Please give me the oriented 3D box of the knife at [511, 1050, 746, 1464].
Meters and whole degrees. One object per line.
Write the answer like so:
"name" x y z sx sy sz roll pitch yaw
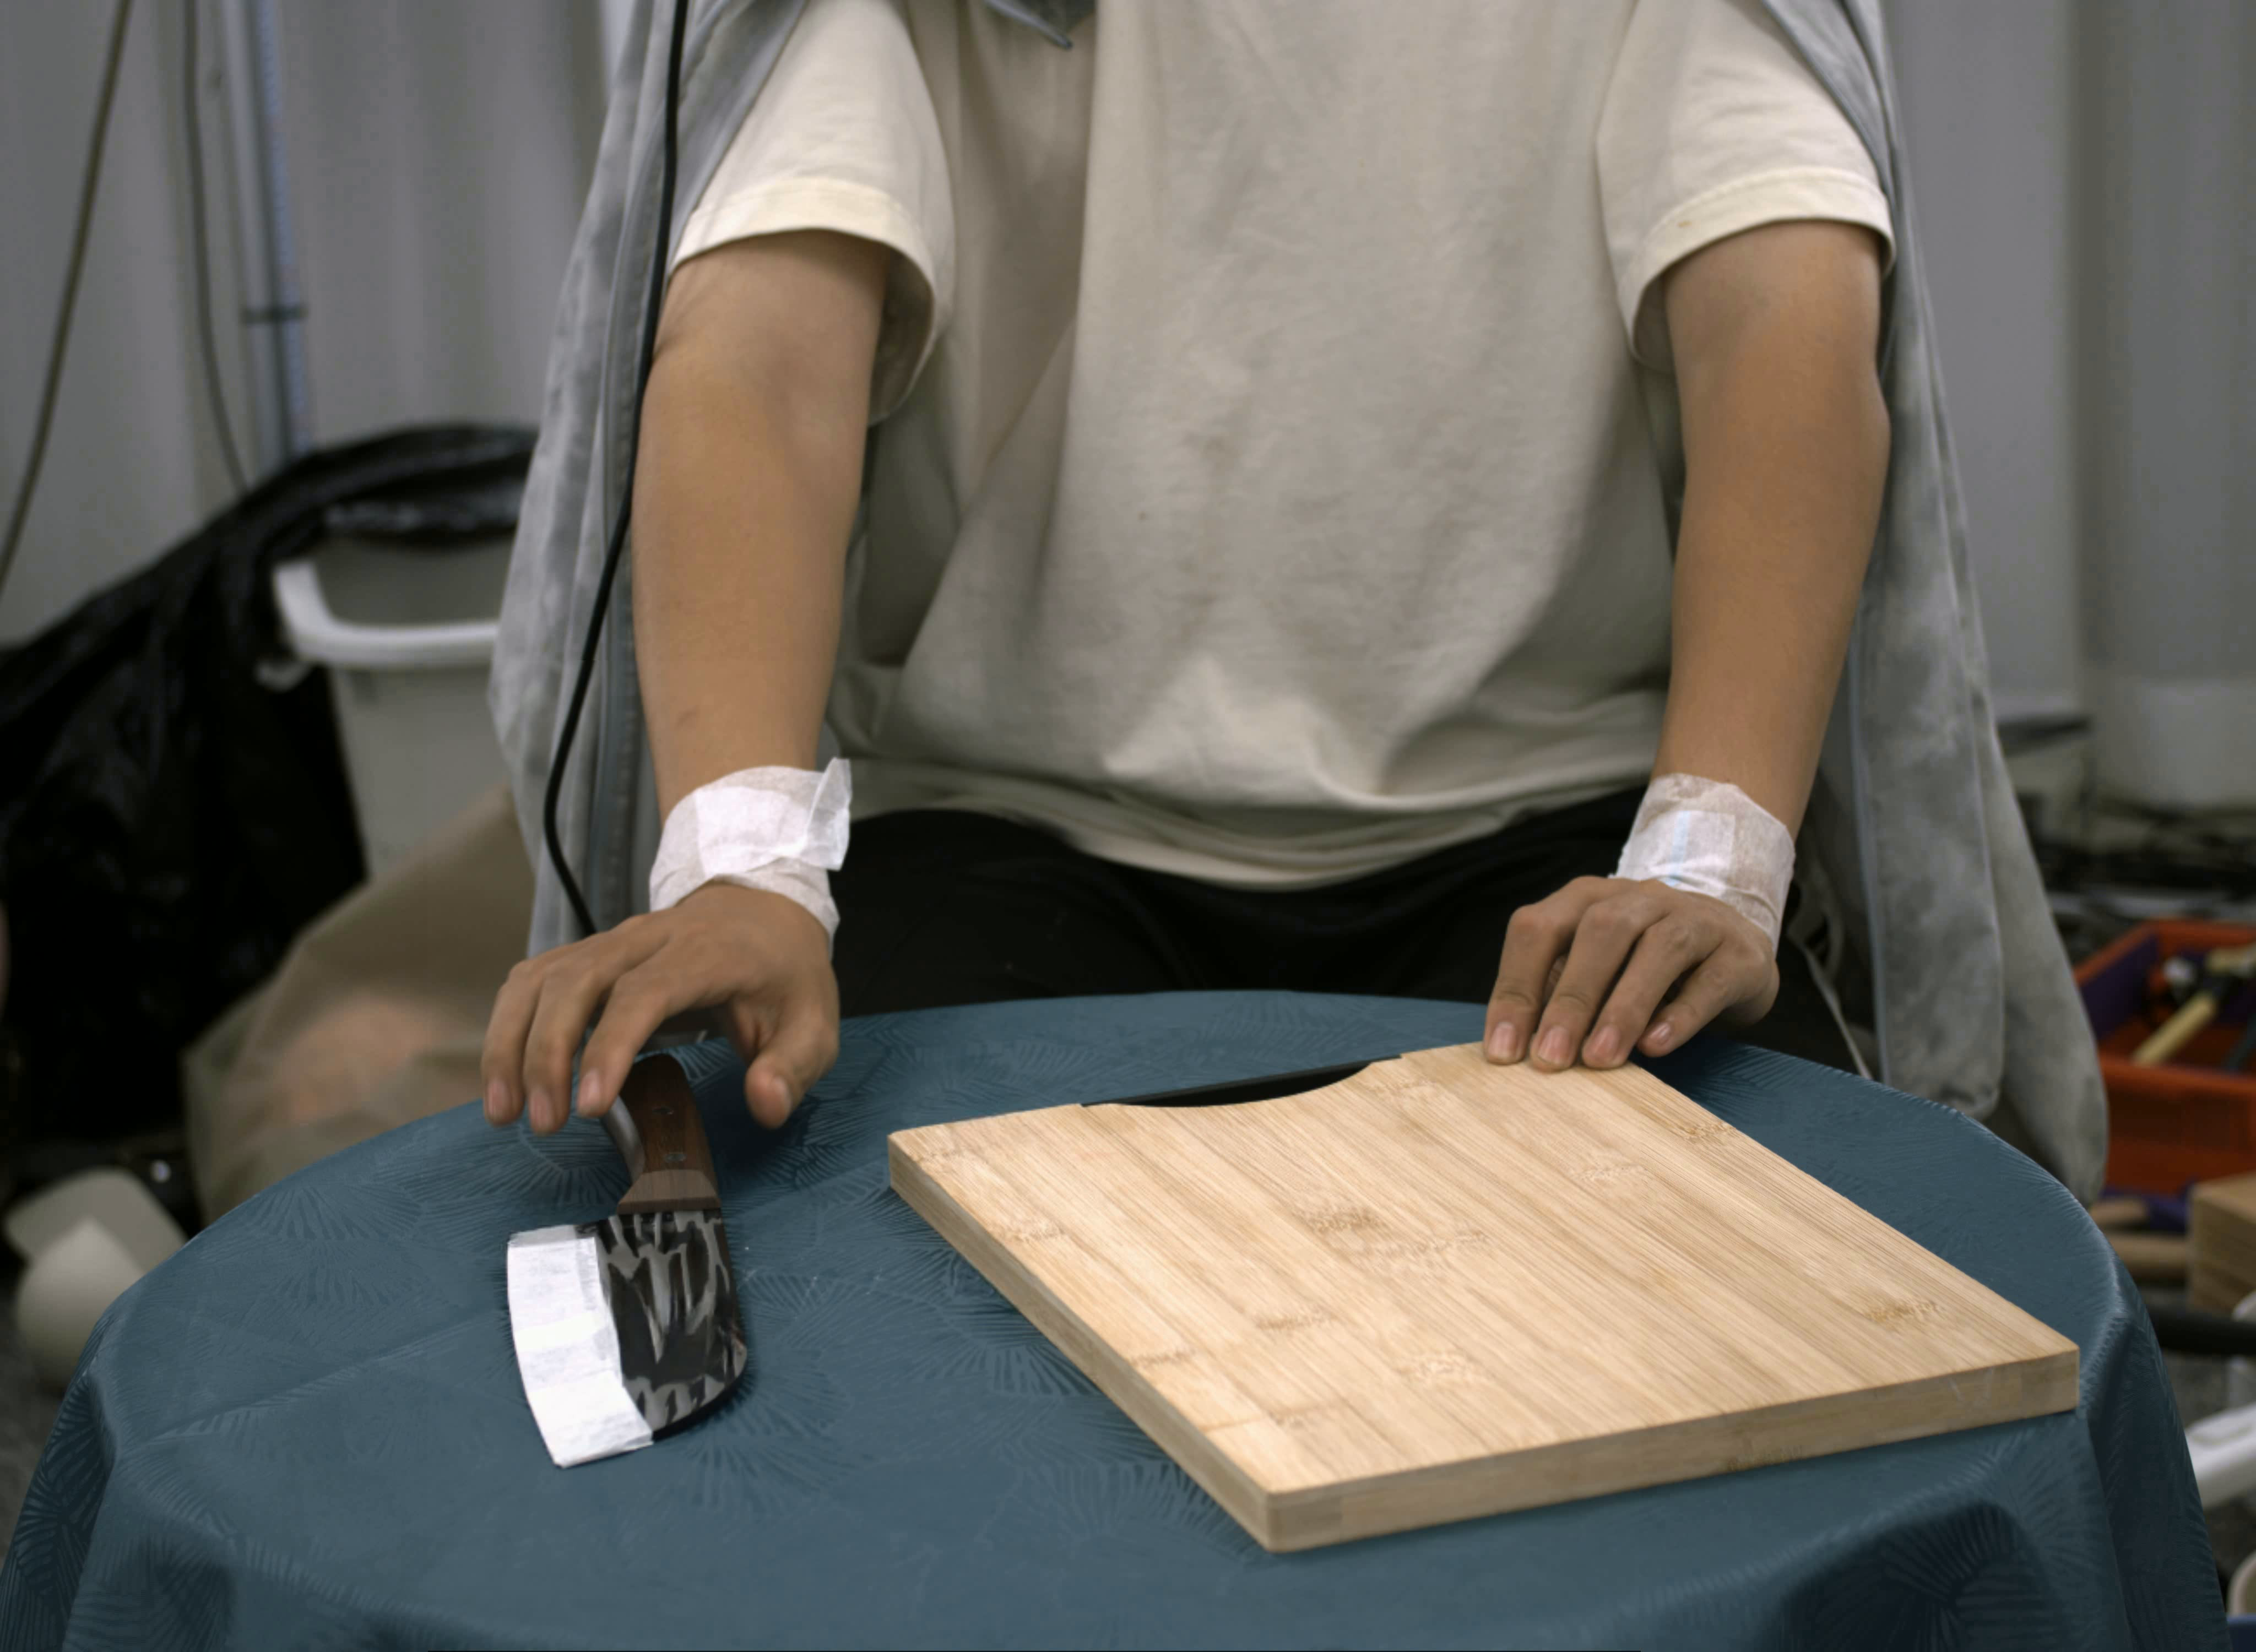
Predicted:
"knife" -0.153 0.129 1.656 0.068 0.024 0.302 -7 18 -4

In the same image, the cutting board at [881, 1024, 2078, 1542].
"cutting board" 0.091 0.128 1.620 0.249 0.023 0.351 -8 15 -19
